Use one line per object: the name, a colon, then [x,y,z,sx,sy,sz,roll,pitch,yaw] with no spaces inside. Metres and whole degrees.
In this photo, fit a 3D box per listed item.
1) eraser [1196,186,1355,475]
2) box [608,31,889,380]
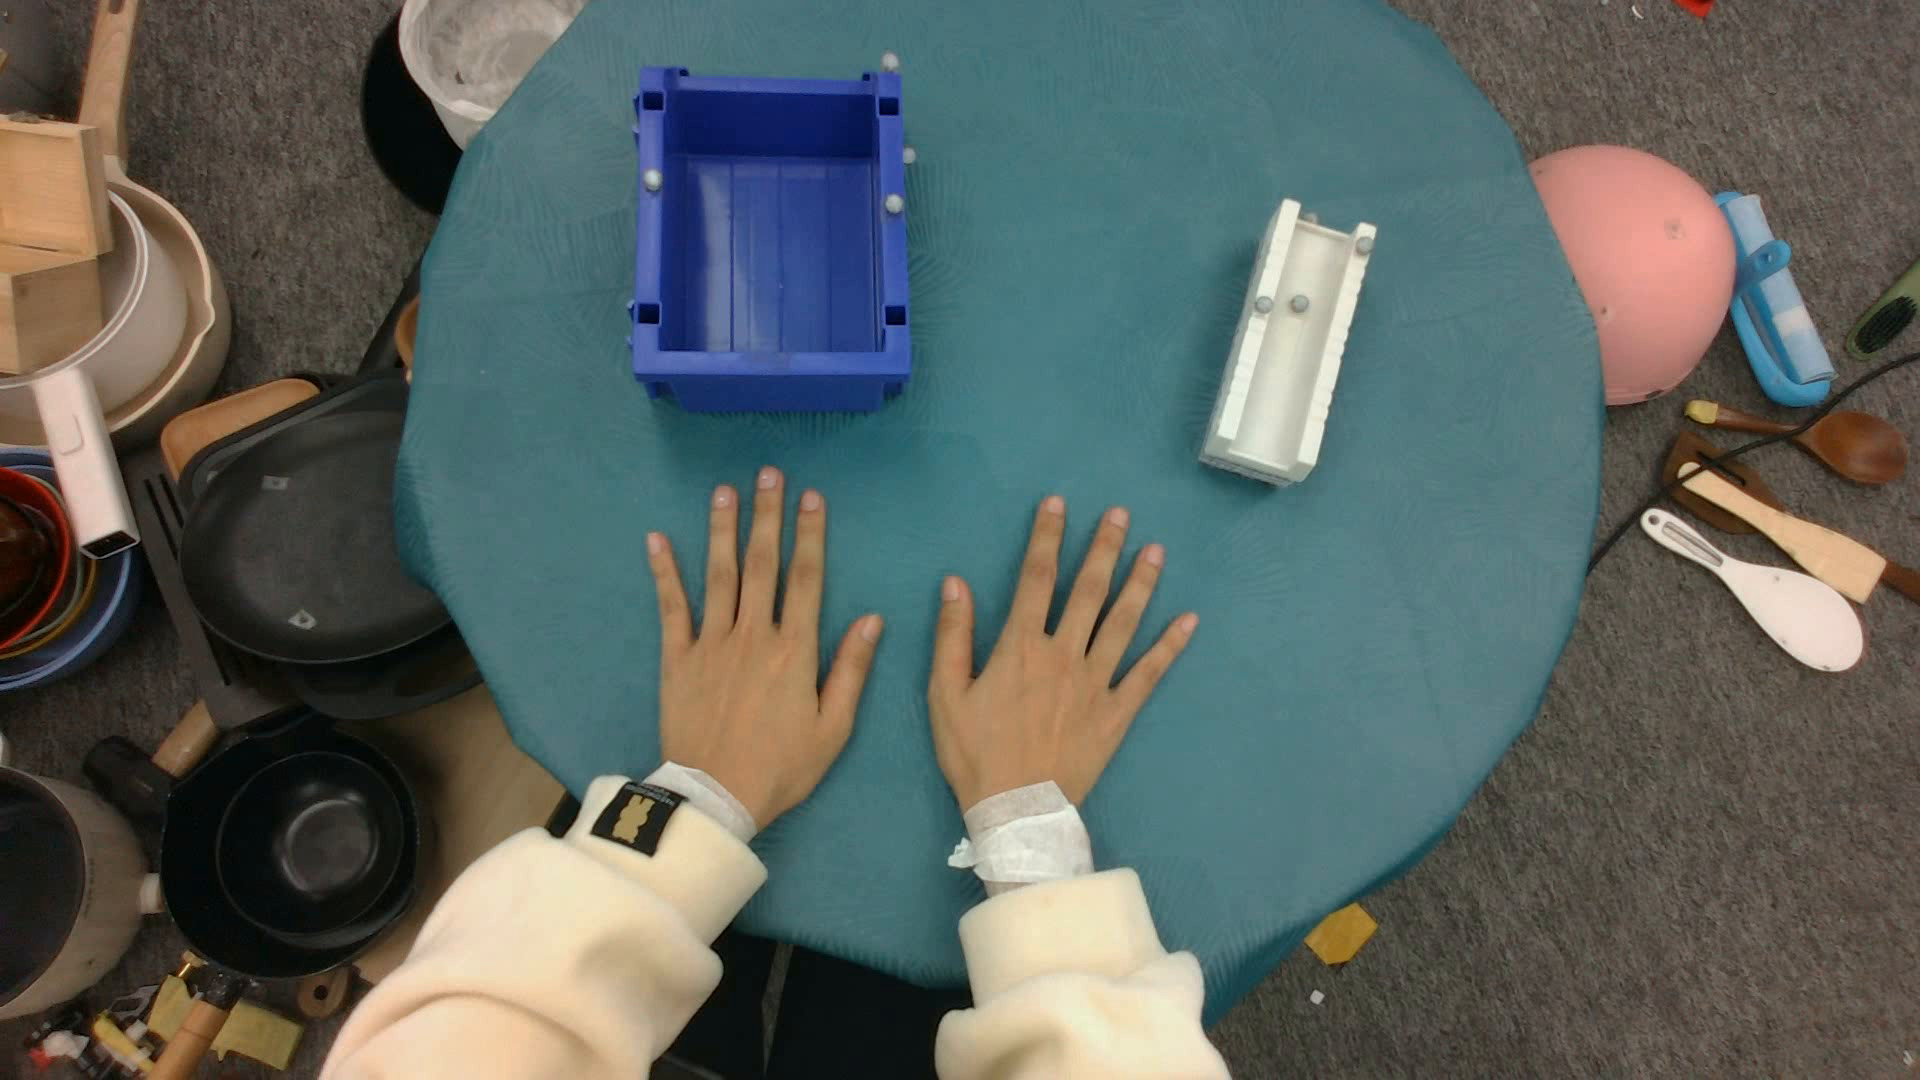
eraser: [0.155,-0.103,0.685,0.050,0.046,0.134,16,72,-3]
box: [-0.098,-0.165,0.659,0.124,0.081,0.180,1,76,-6]
